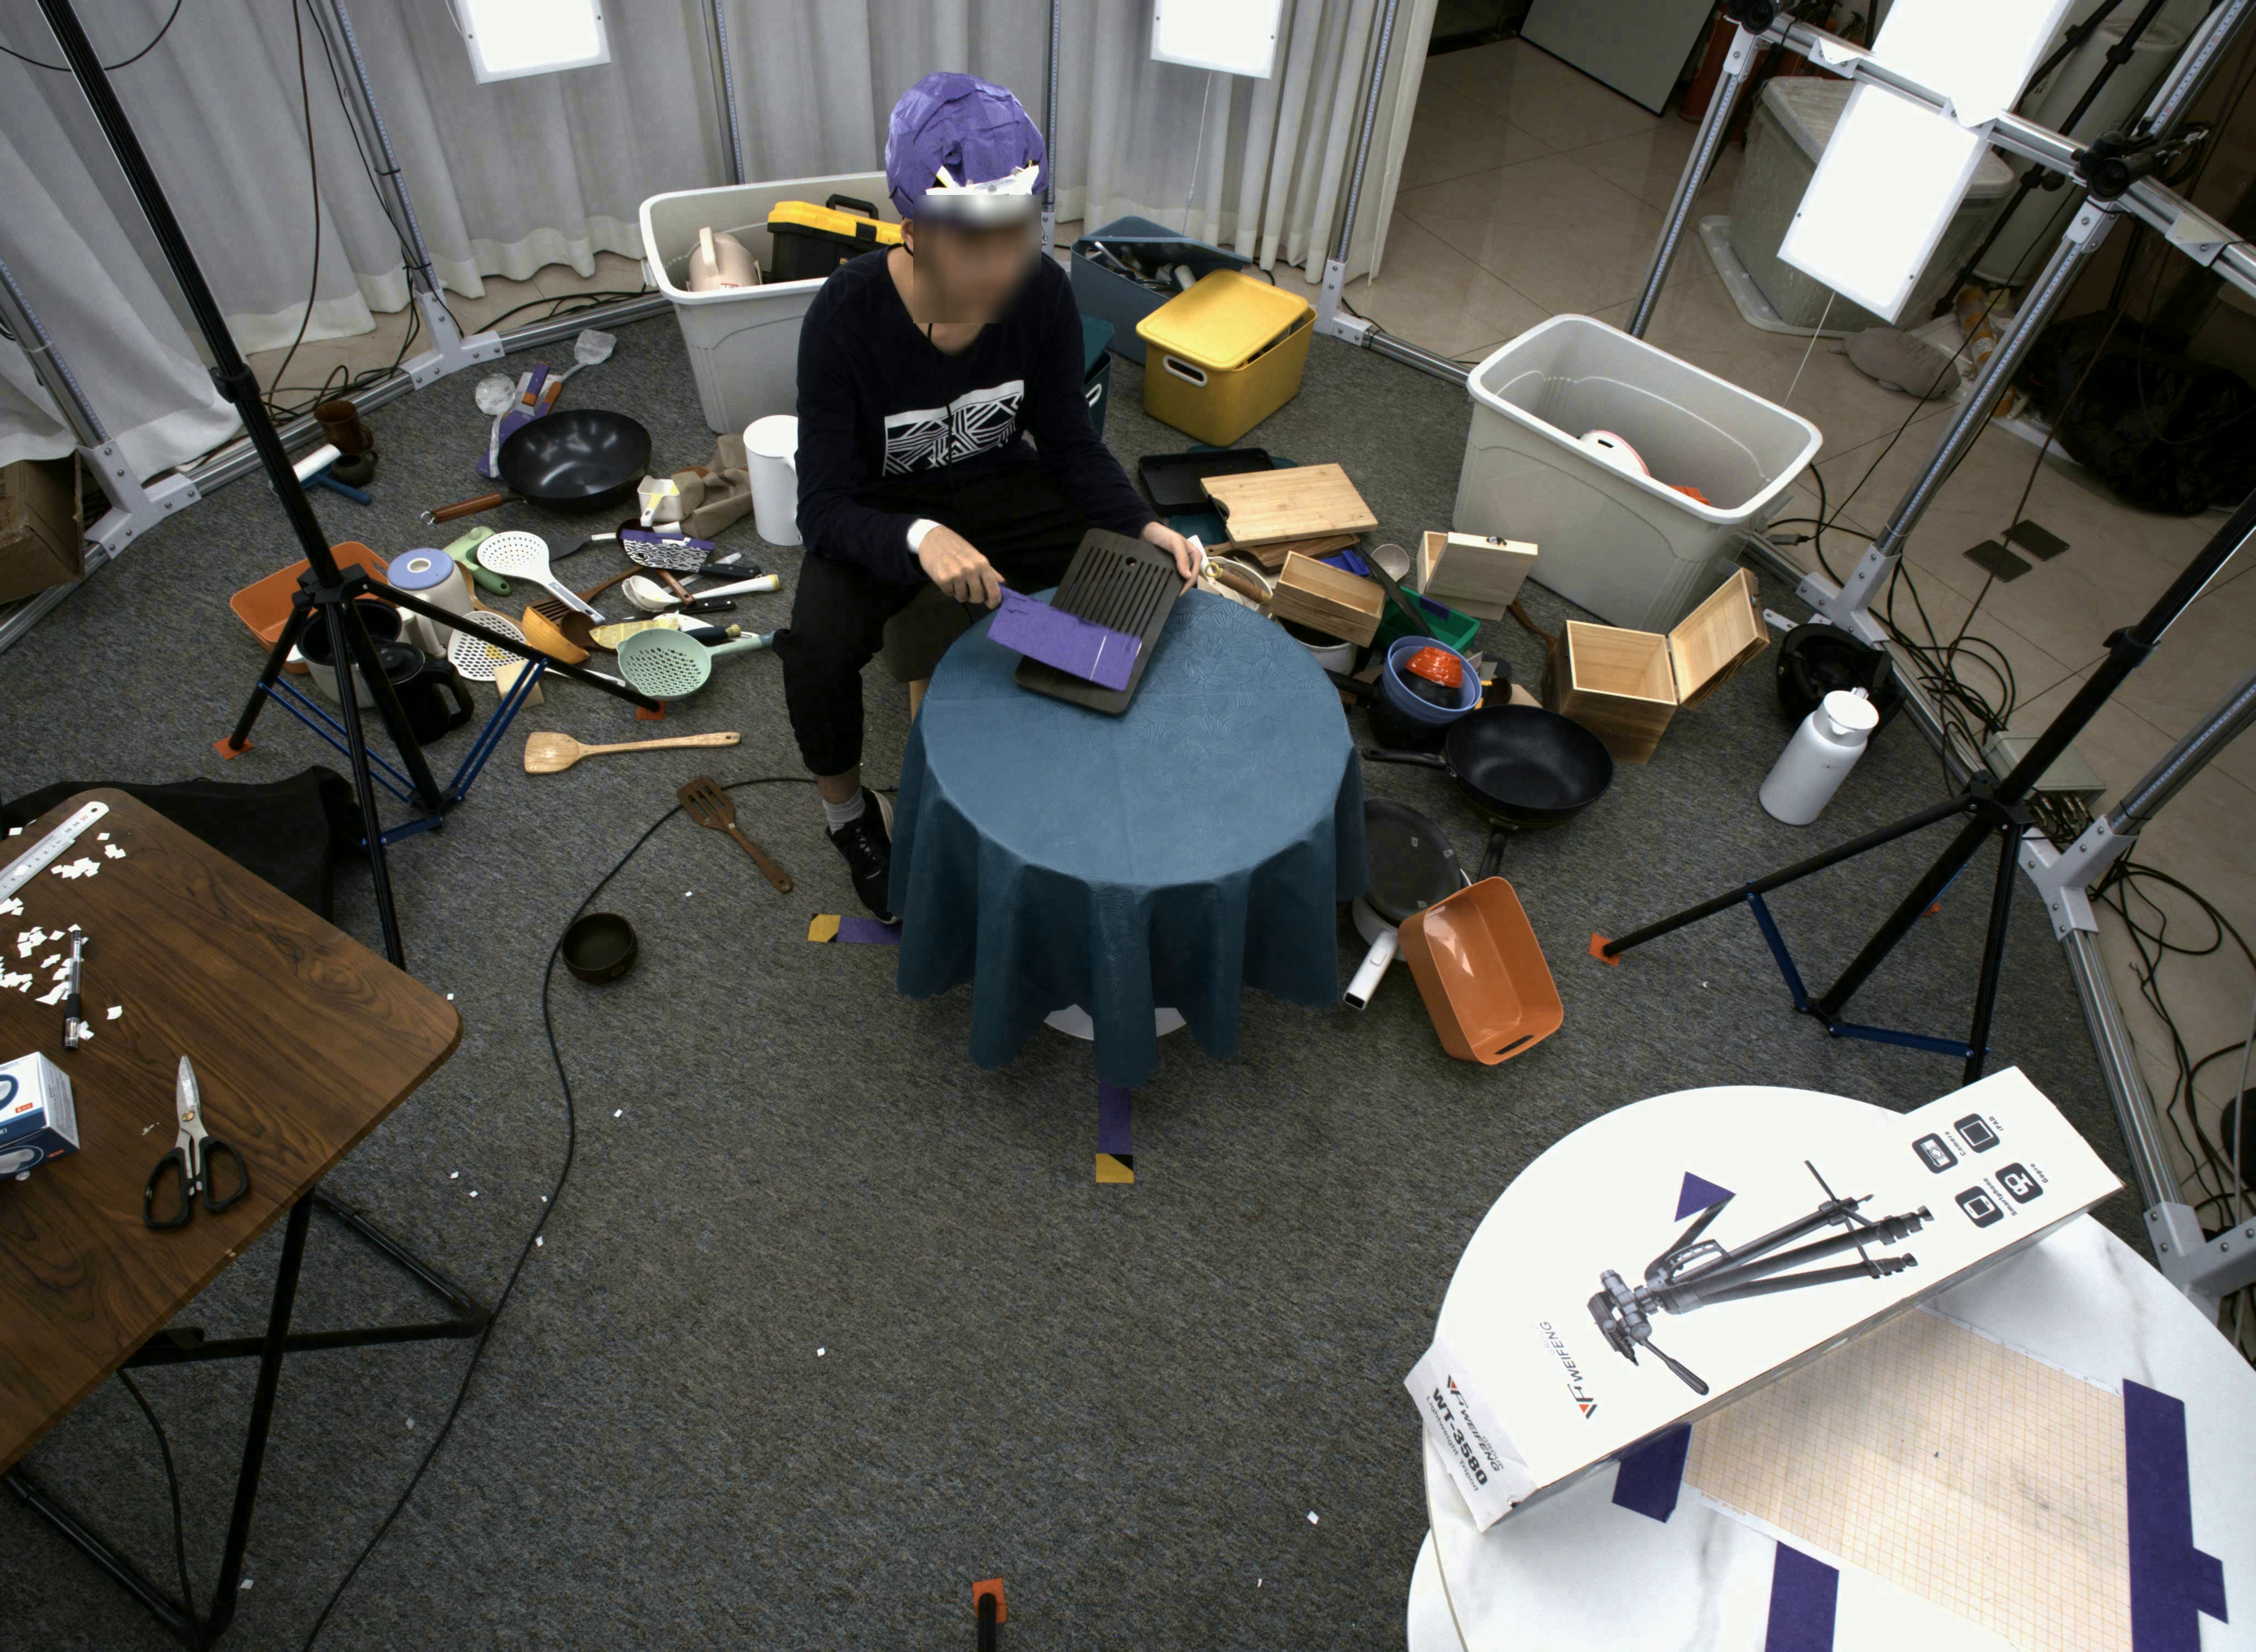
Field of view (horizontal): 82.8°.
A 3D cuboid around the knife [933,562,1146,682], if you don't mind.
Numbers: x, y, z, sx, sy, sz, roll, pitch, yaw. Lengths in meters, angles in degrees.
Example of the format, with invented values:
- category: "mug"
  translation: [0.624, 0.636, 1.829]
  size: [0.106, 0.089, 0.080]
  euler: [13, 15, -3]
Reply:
- category: "knife"
  translation: [-0.134, -0.287, 1.820]
  size: [0.315, 0.031, 0.106]
  euler: [19, 64, 1]

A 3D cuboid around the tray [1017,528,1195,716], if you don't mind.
- category: "tray"
  translation: [-0.028, -0.301, 1.878]
  size: [0.171, 0.018, 0.311]
  euler: [18, 61, 12]
